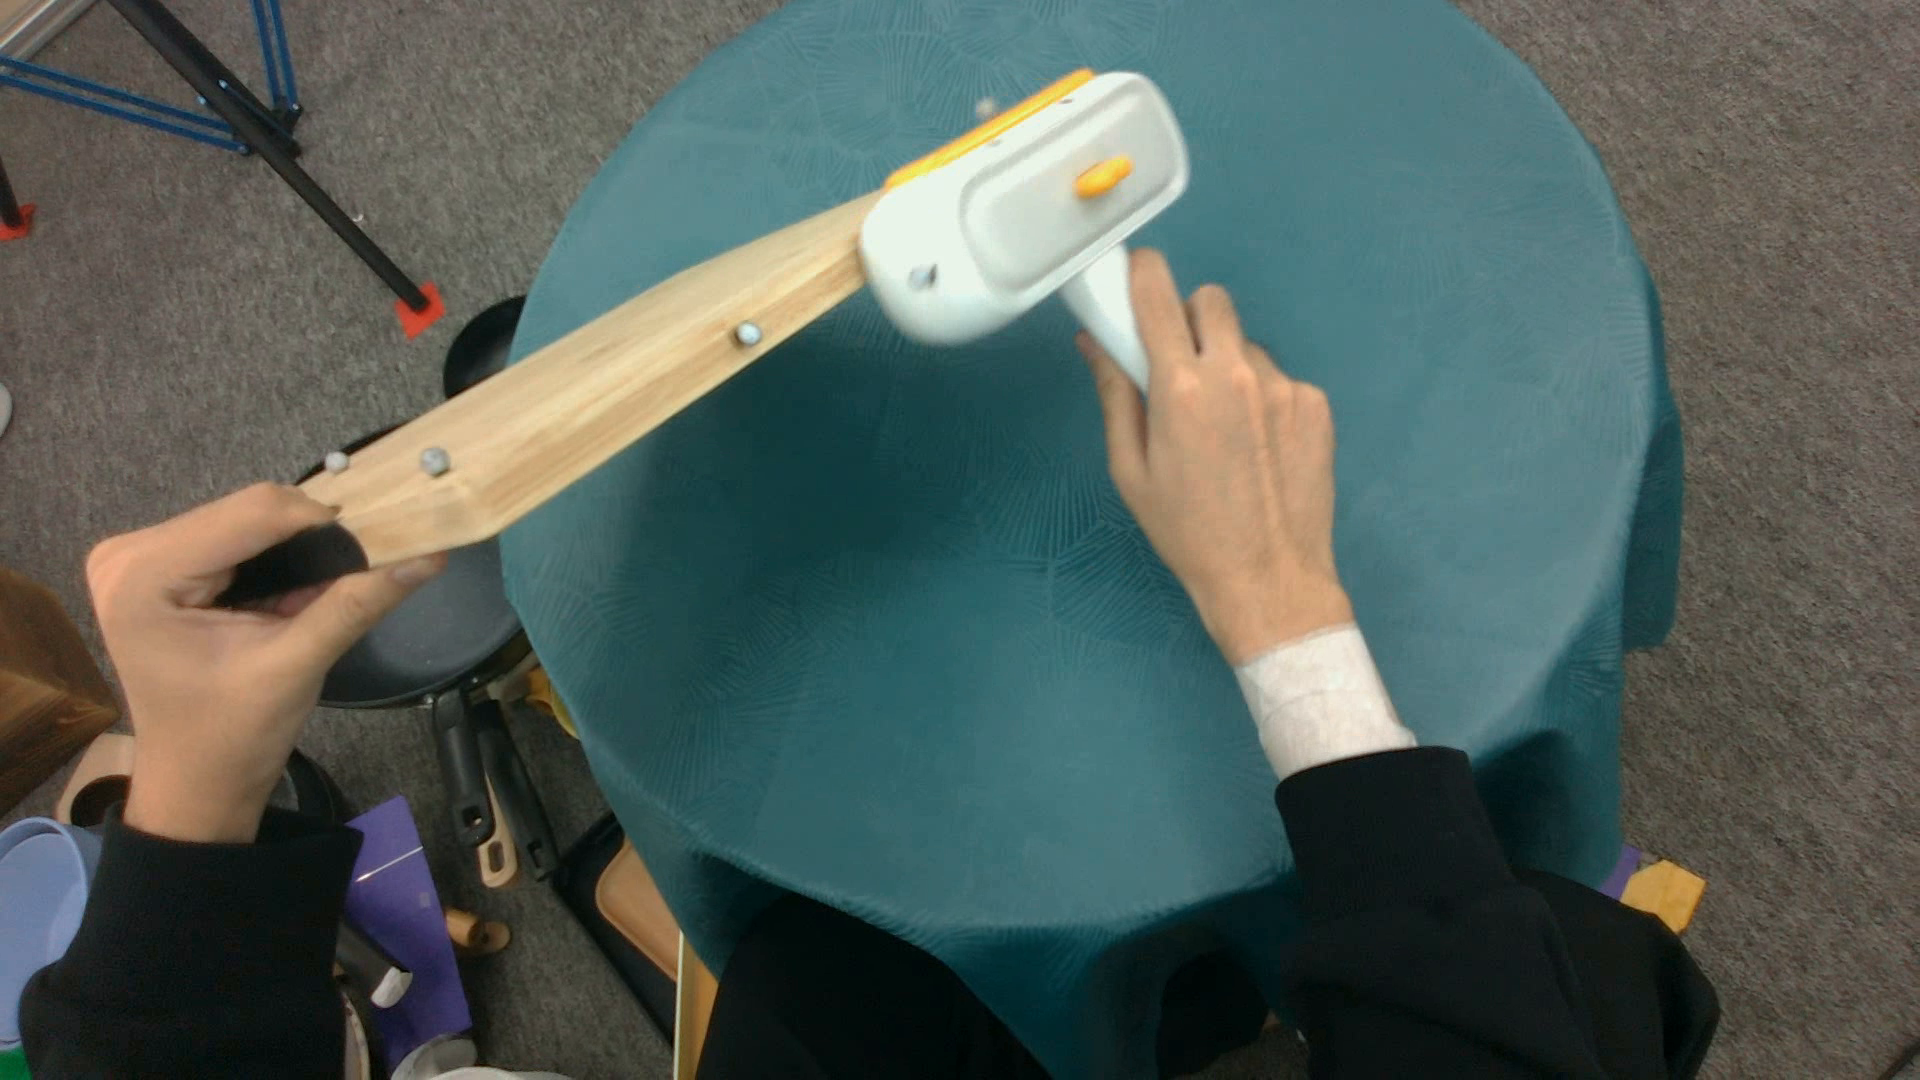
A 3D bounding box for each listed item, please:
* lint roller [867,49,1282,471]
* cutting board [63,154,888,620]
[{"bbox_3d":[0.068,-0.109,0.586,0.074,0.194,0.192,-22,102,40],"label":"lint roller"},{"bbox_3d":[-0.156,-0.080,0.568,0.250,0.023,0.350,-11,24,36],"label":"cutting board"}]
